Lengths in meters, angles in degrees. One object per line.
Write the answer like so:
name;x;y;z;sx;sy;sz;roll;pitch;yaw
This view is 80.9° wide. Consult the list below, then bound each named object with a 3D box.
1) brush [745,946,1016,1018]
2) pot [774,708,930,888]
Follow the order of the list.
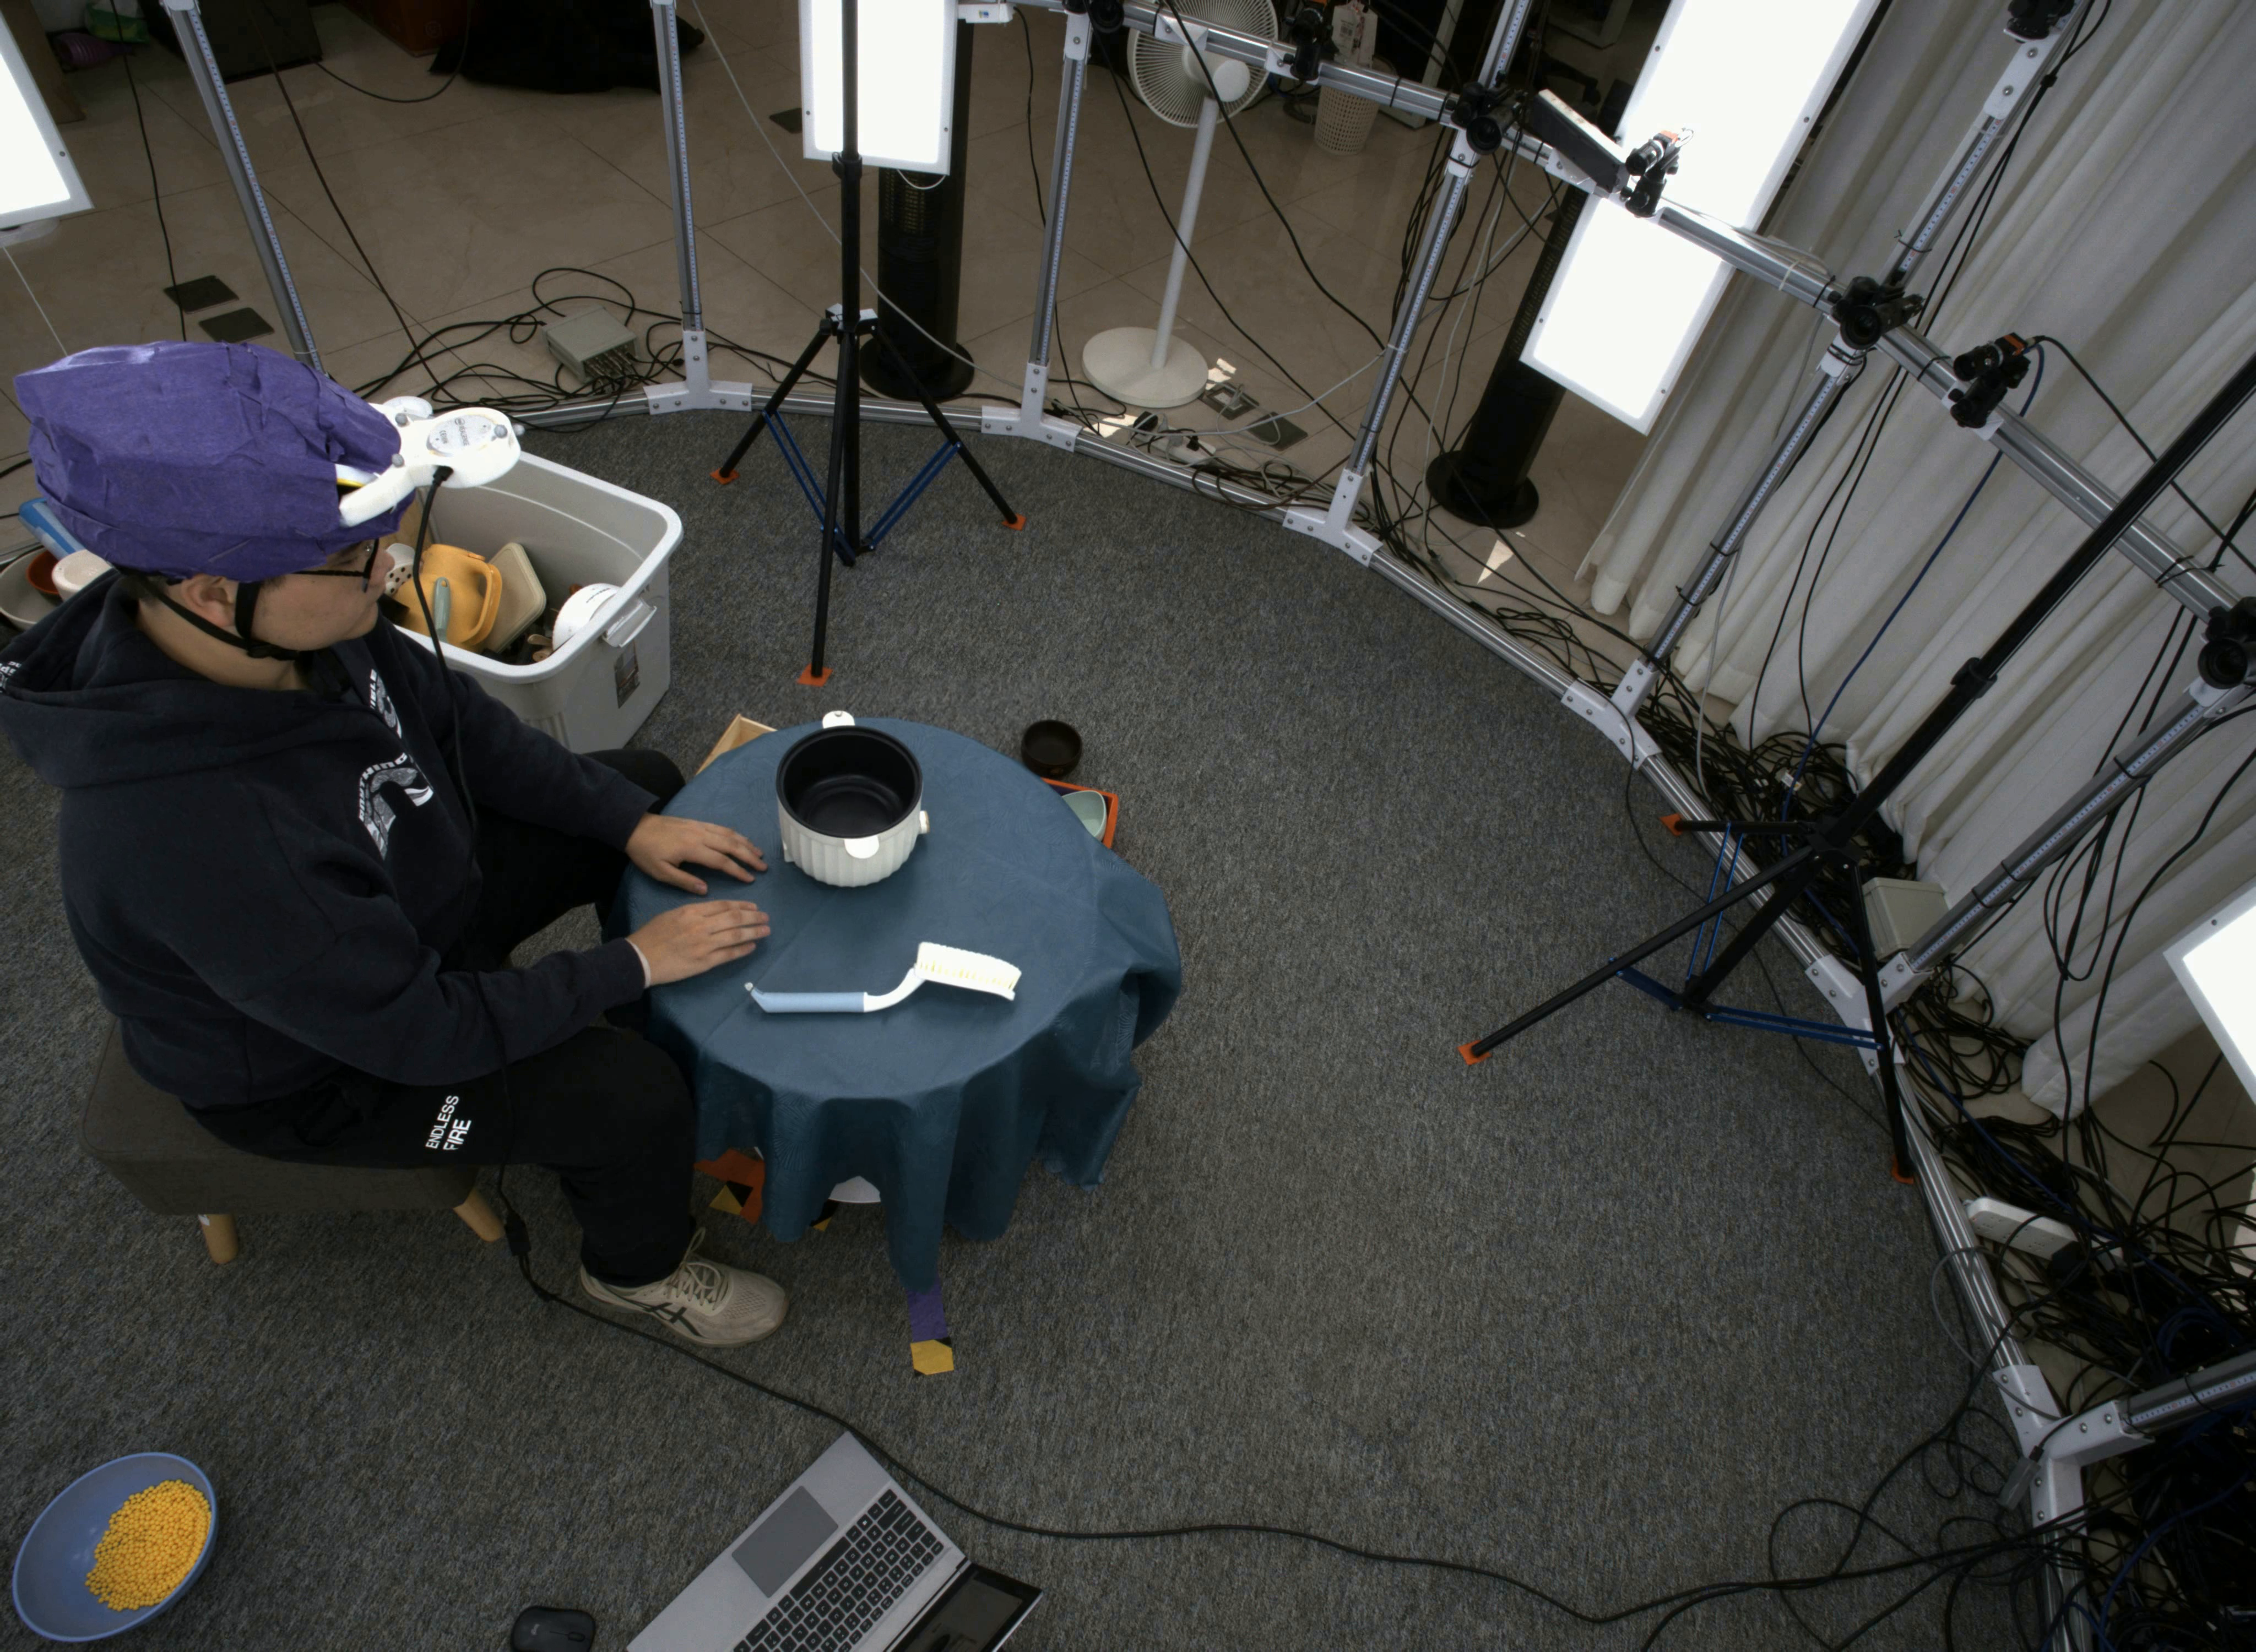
brush;-0.296;0.175;1.568;0.326;0.084;0.083;1;56;-14
pot;-0.351;-0.022;1.665;0.191;0.146;0.235;-10;57;-16
